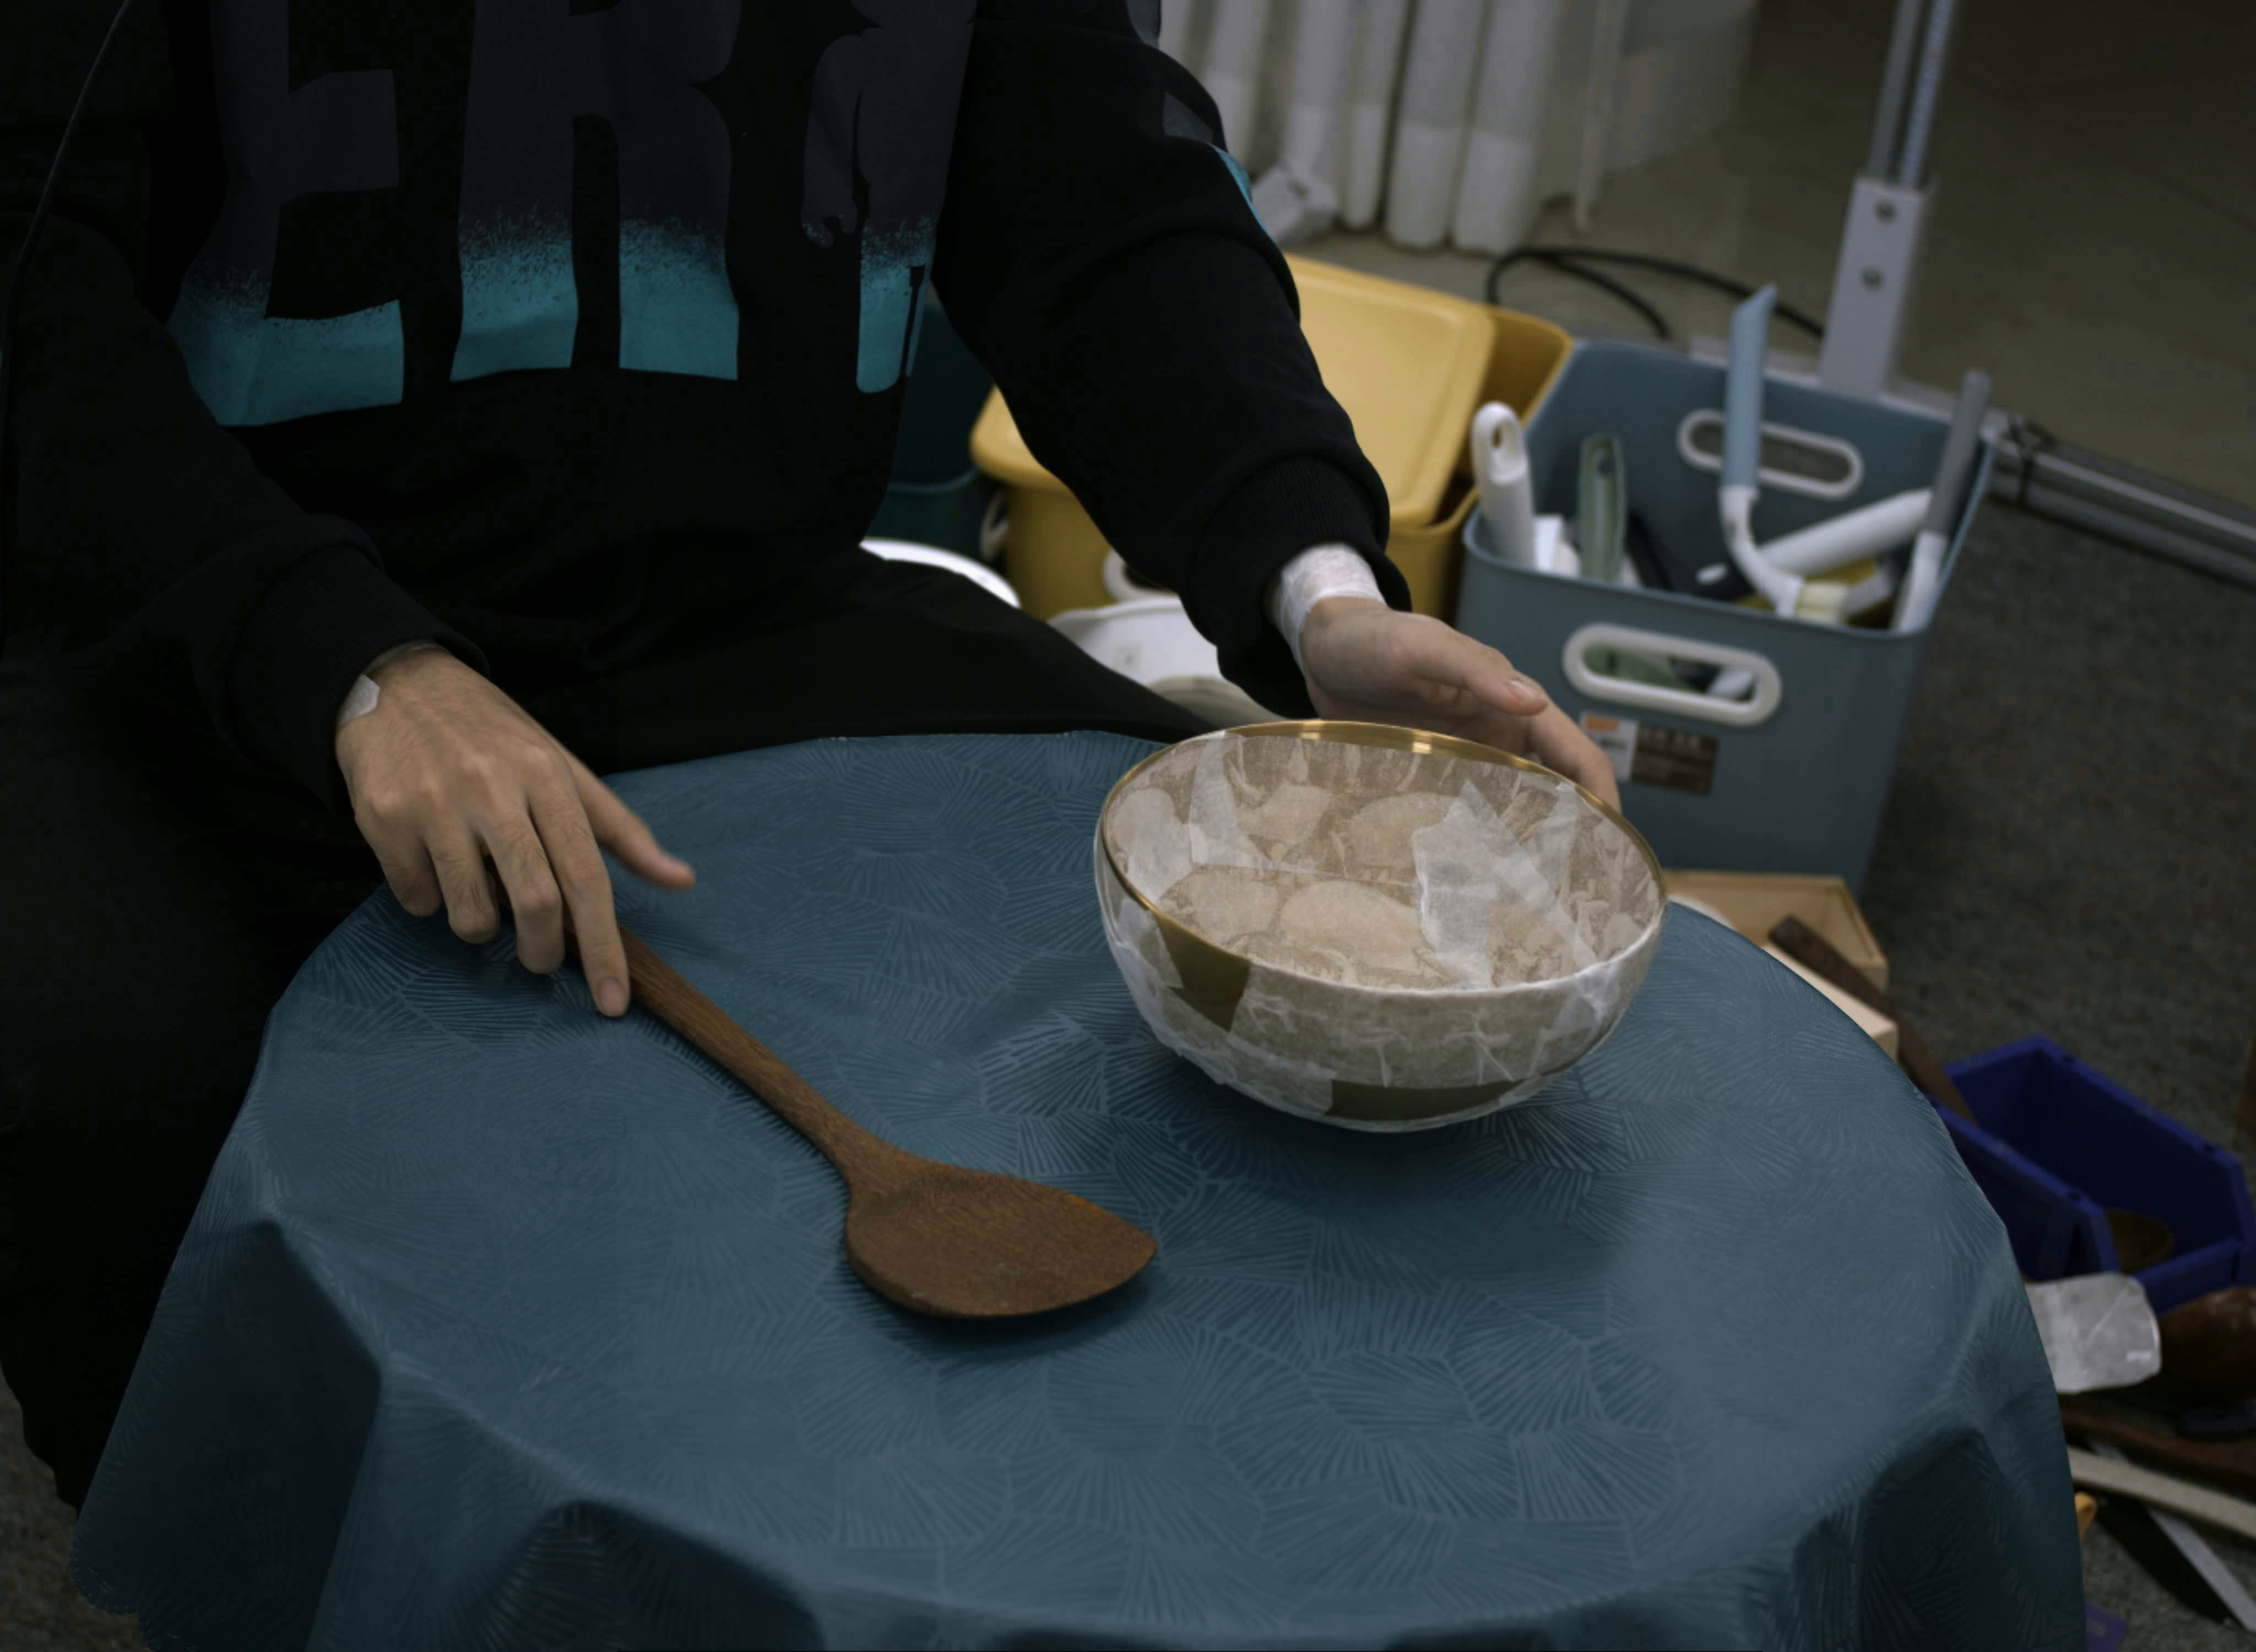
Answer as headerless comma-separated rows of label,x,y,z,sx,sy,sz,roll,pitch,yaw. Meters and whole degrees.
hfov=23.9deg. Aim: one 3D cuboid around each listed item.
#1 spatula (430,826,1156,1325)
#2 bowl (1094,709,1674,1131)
spatula,-0.136,0.078,1.844,0.095,0.016,0.389,-14,33,-36
bowl,0.086,0.045,1.870,0.214,0.094,0.216,4,27,-2
